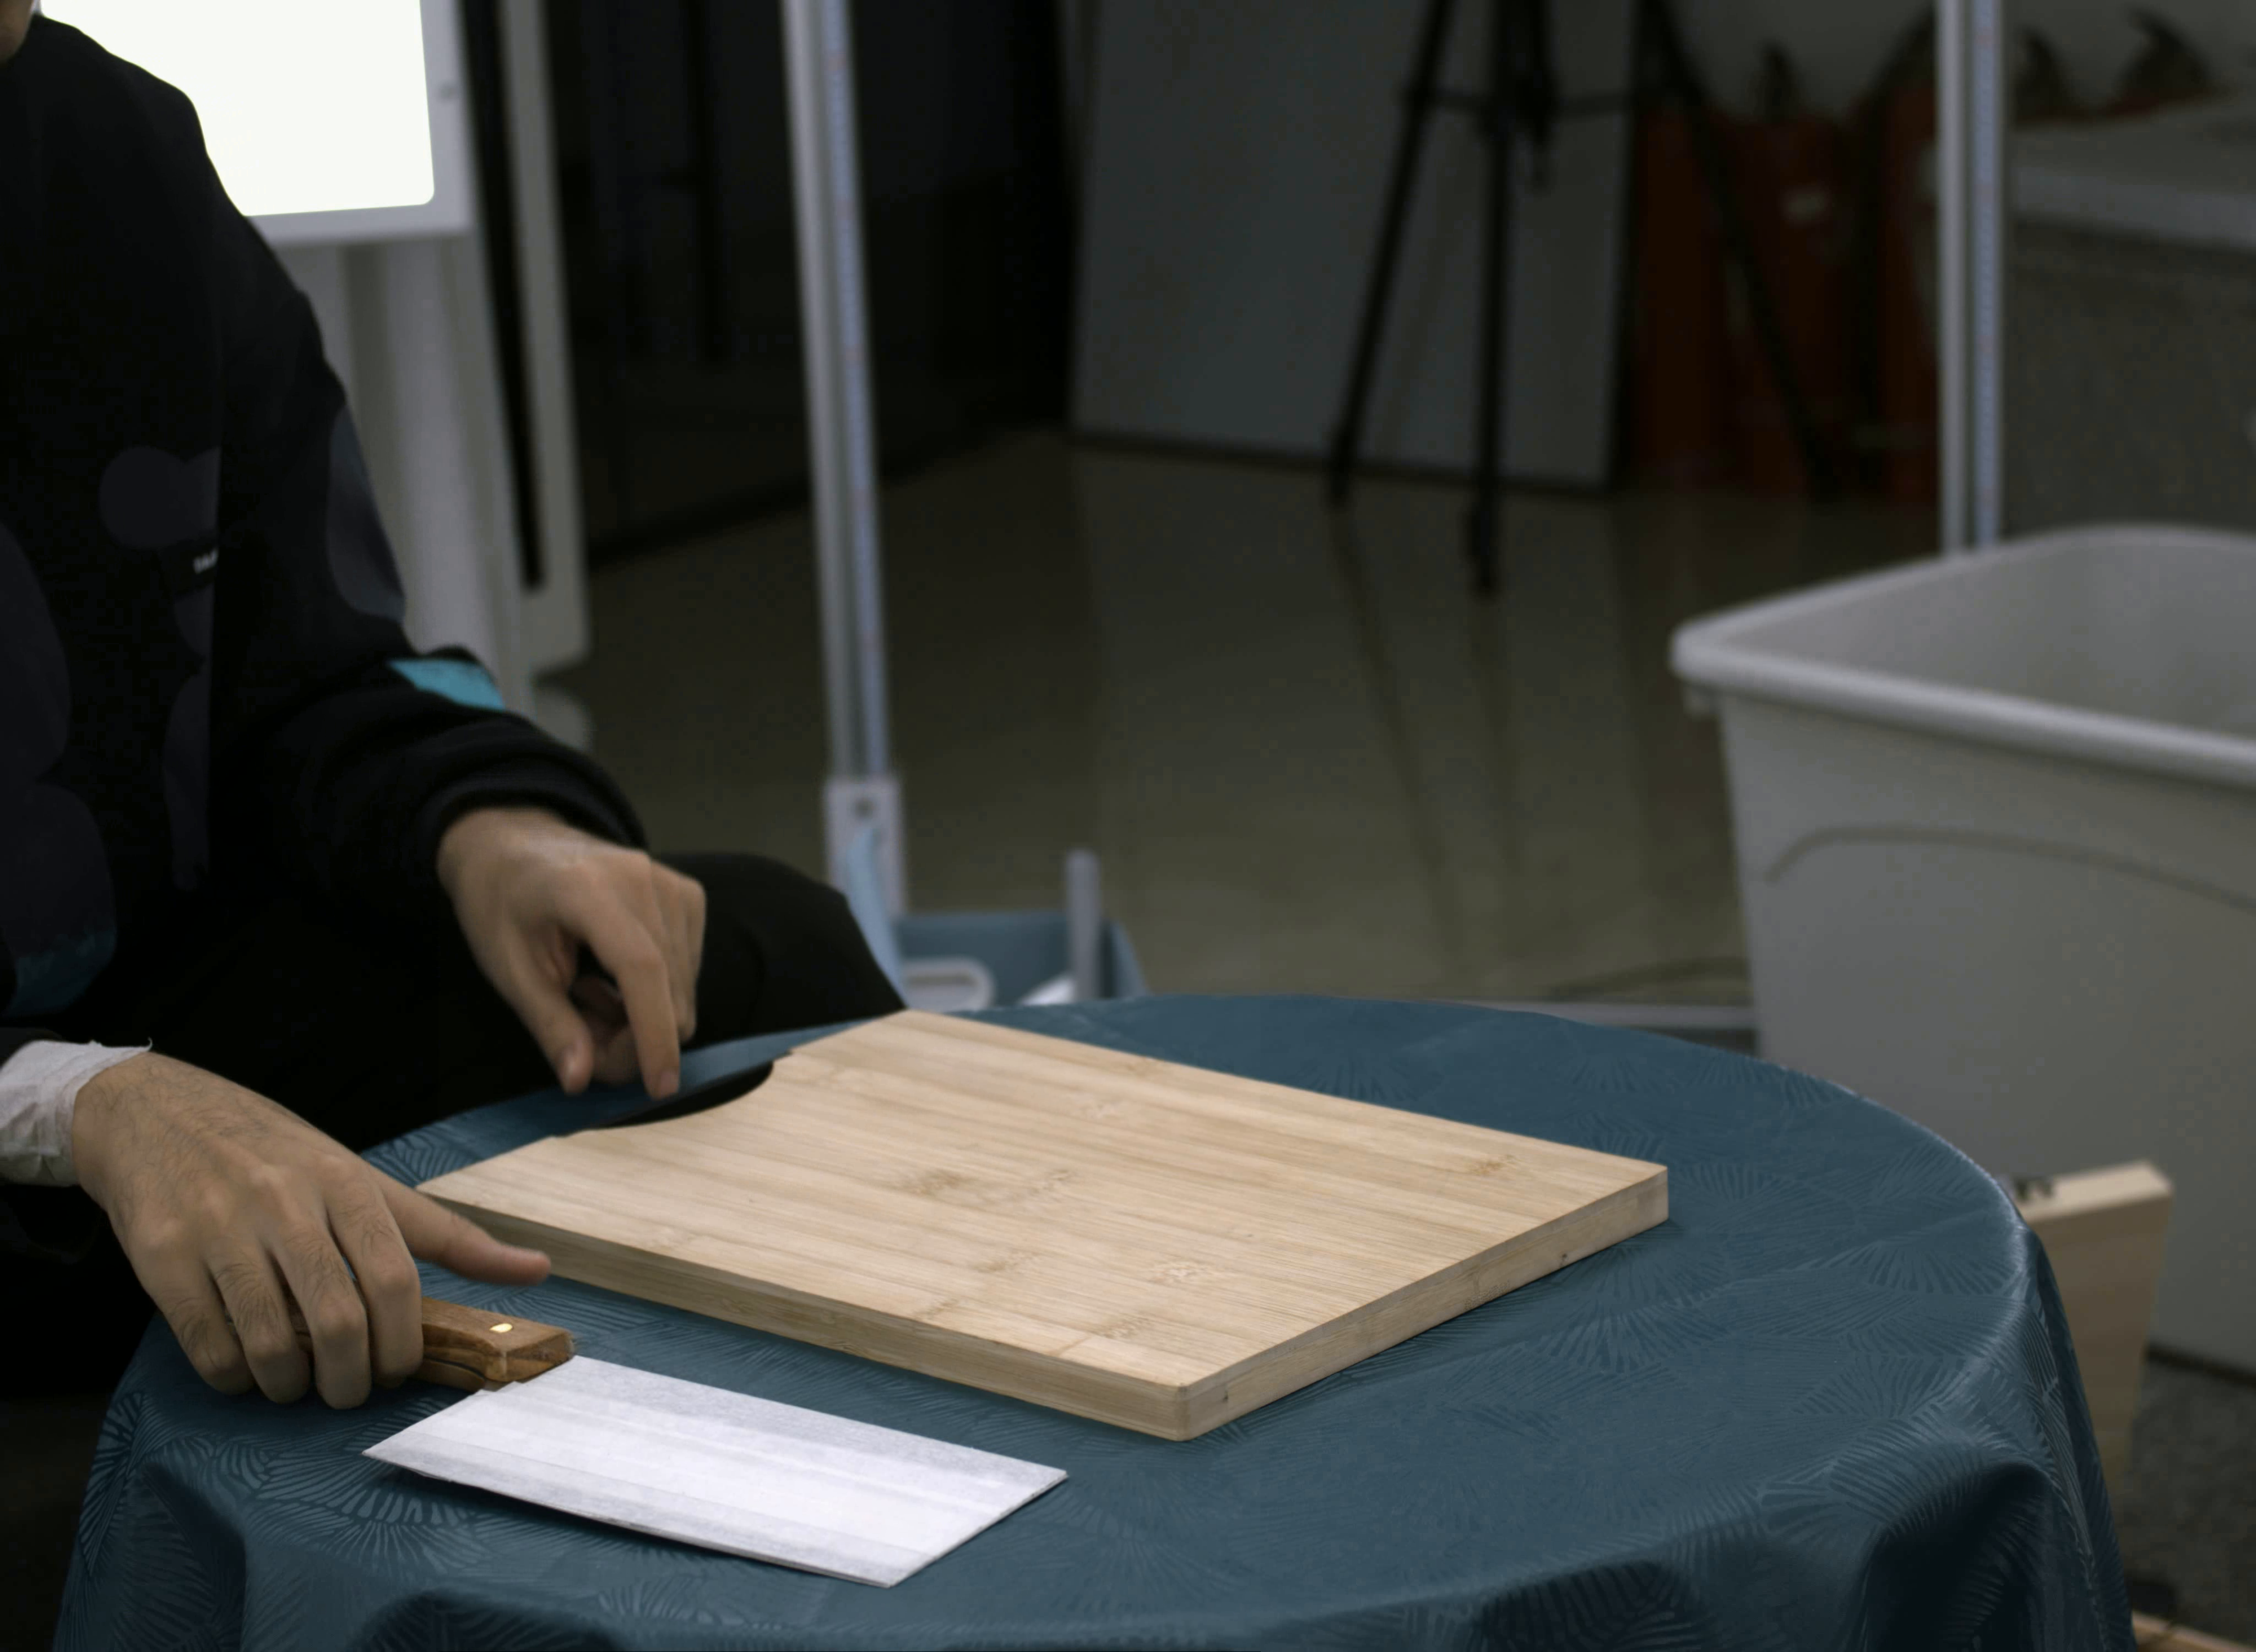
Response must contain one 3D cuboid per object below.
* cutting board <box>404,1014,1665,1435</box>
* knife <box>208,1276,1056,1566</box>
[{"bbox_3d":[-0.033,0.122,1.742,0.351,0.024,0.246,8,18,41],"label":"cutting board"},{"bbox_3d":[-0.164,0.175,1.571,0.307,0.021,0.091,8,20,34],"label":"knife"}]
